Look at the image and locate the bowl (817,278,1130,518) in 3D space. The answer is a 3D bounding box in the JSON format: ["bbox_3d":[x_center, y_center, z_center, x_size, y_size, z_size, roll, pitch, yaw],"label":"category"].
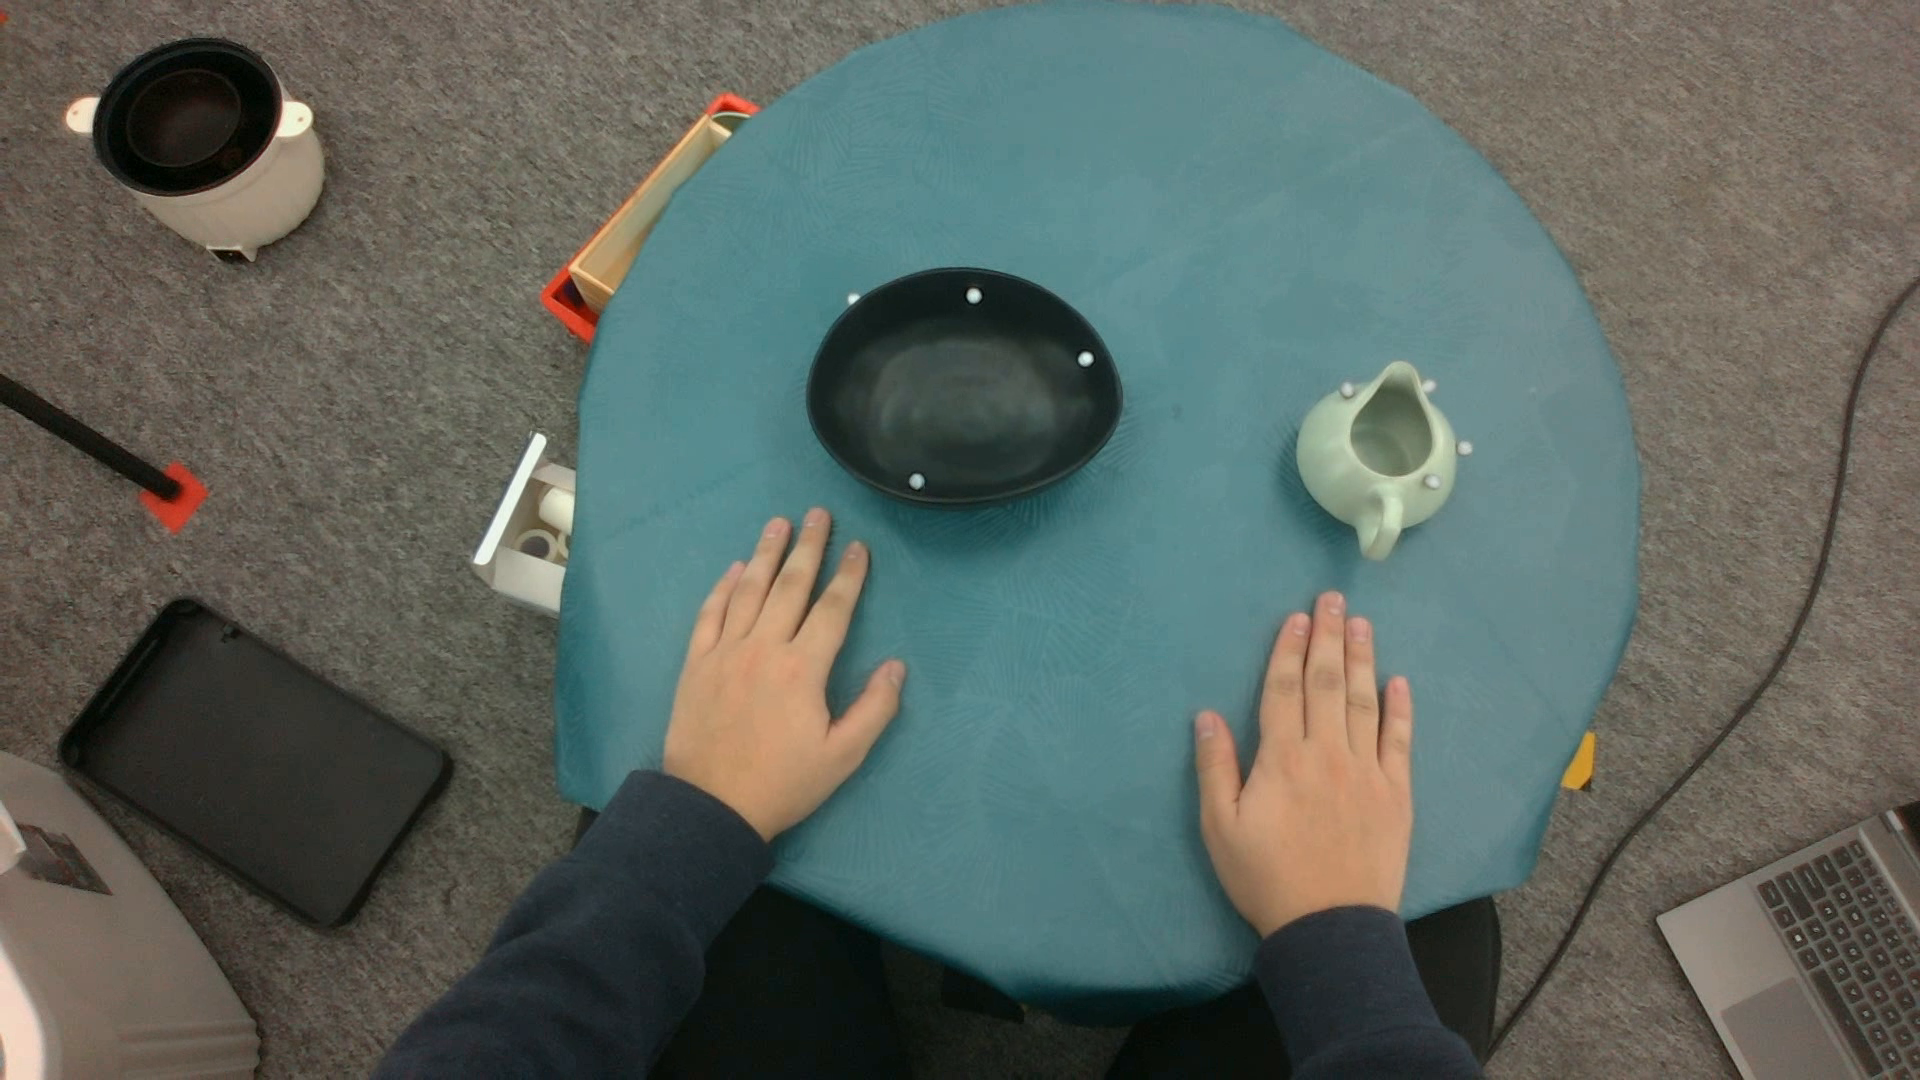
[{"bbox_3d":[0.008,-0.071,0.767,0.170,0.066,0.137,-2,72,-1],"label":"bowl"}]

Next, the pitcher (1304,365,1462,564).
[{"bbox_3d":[0.234,-0.037,0.756,0.086,0.060,0.108,7,73,4],"label":"pitcher"}]
